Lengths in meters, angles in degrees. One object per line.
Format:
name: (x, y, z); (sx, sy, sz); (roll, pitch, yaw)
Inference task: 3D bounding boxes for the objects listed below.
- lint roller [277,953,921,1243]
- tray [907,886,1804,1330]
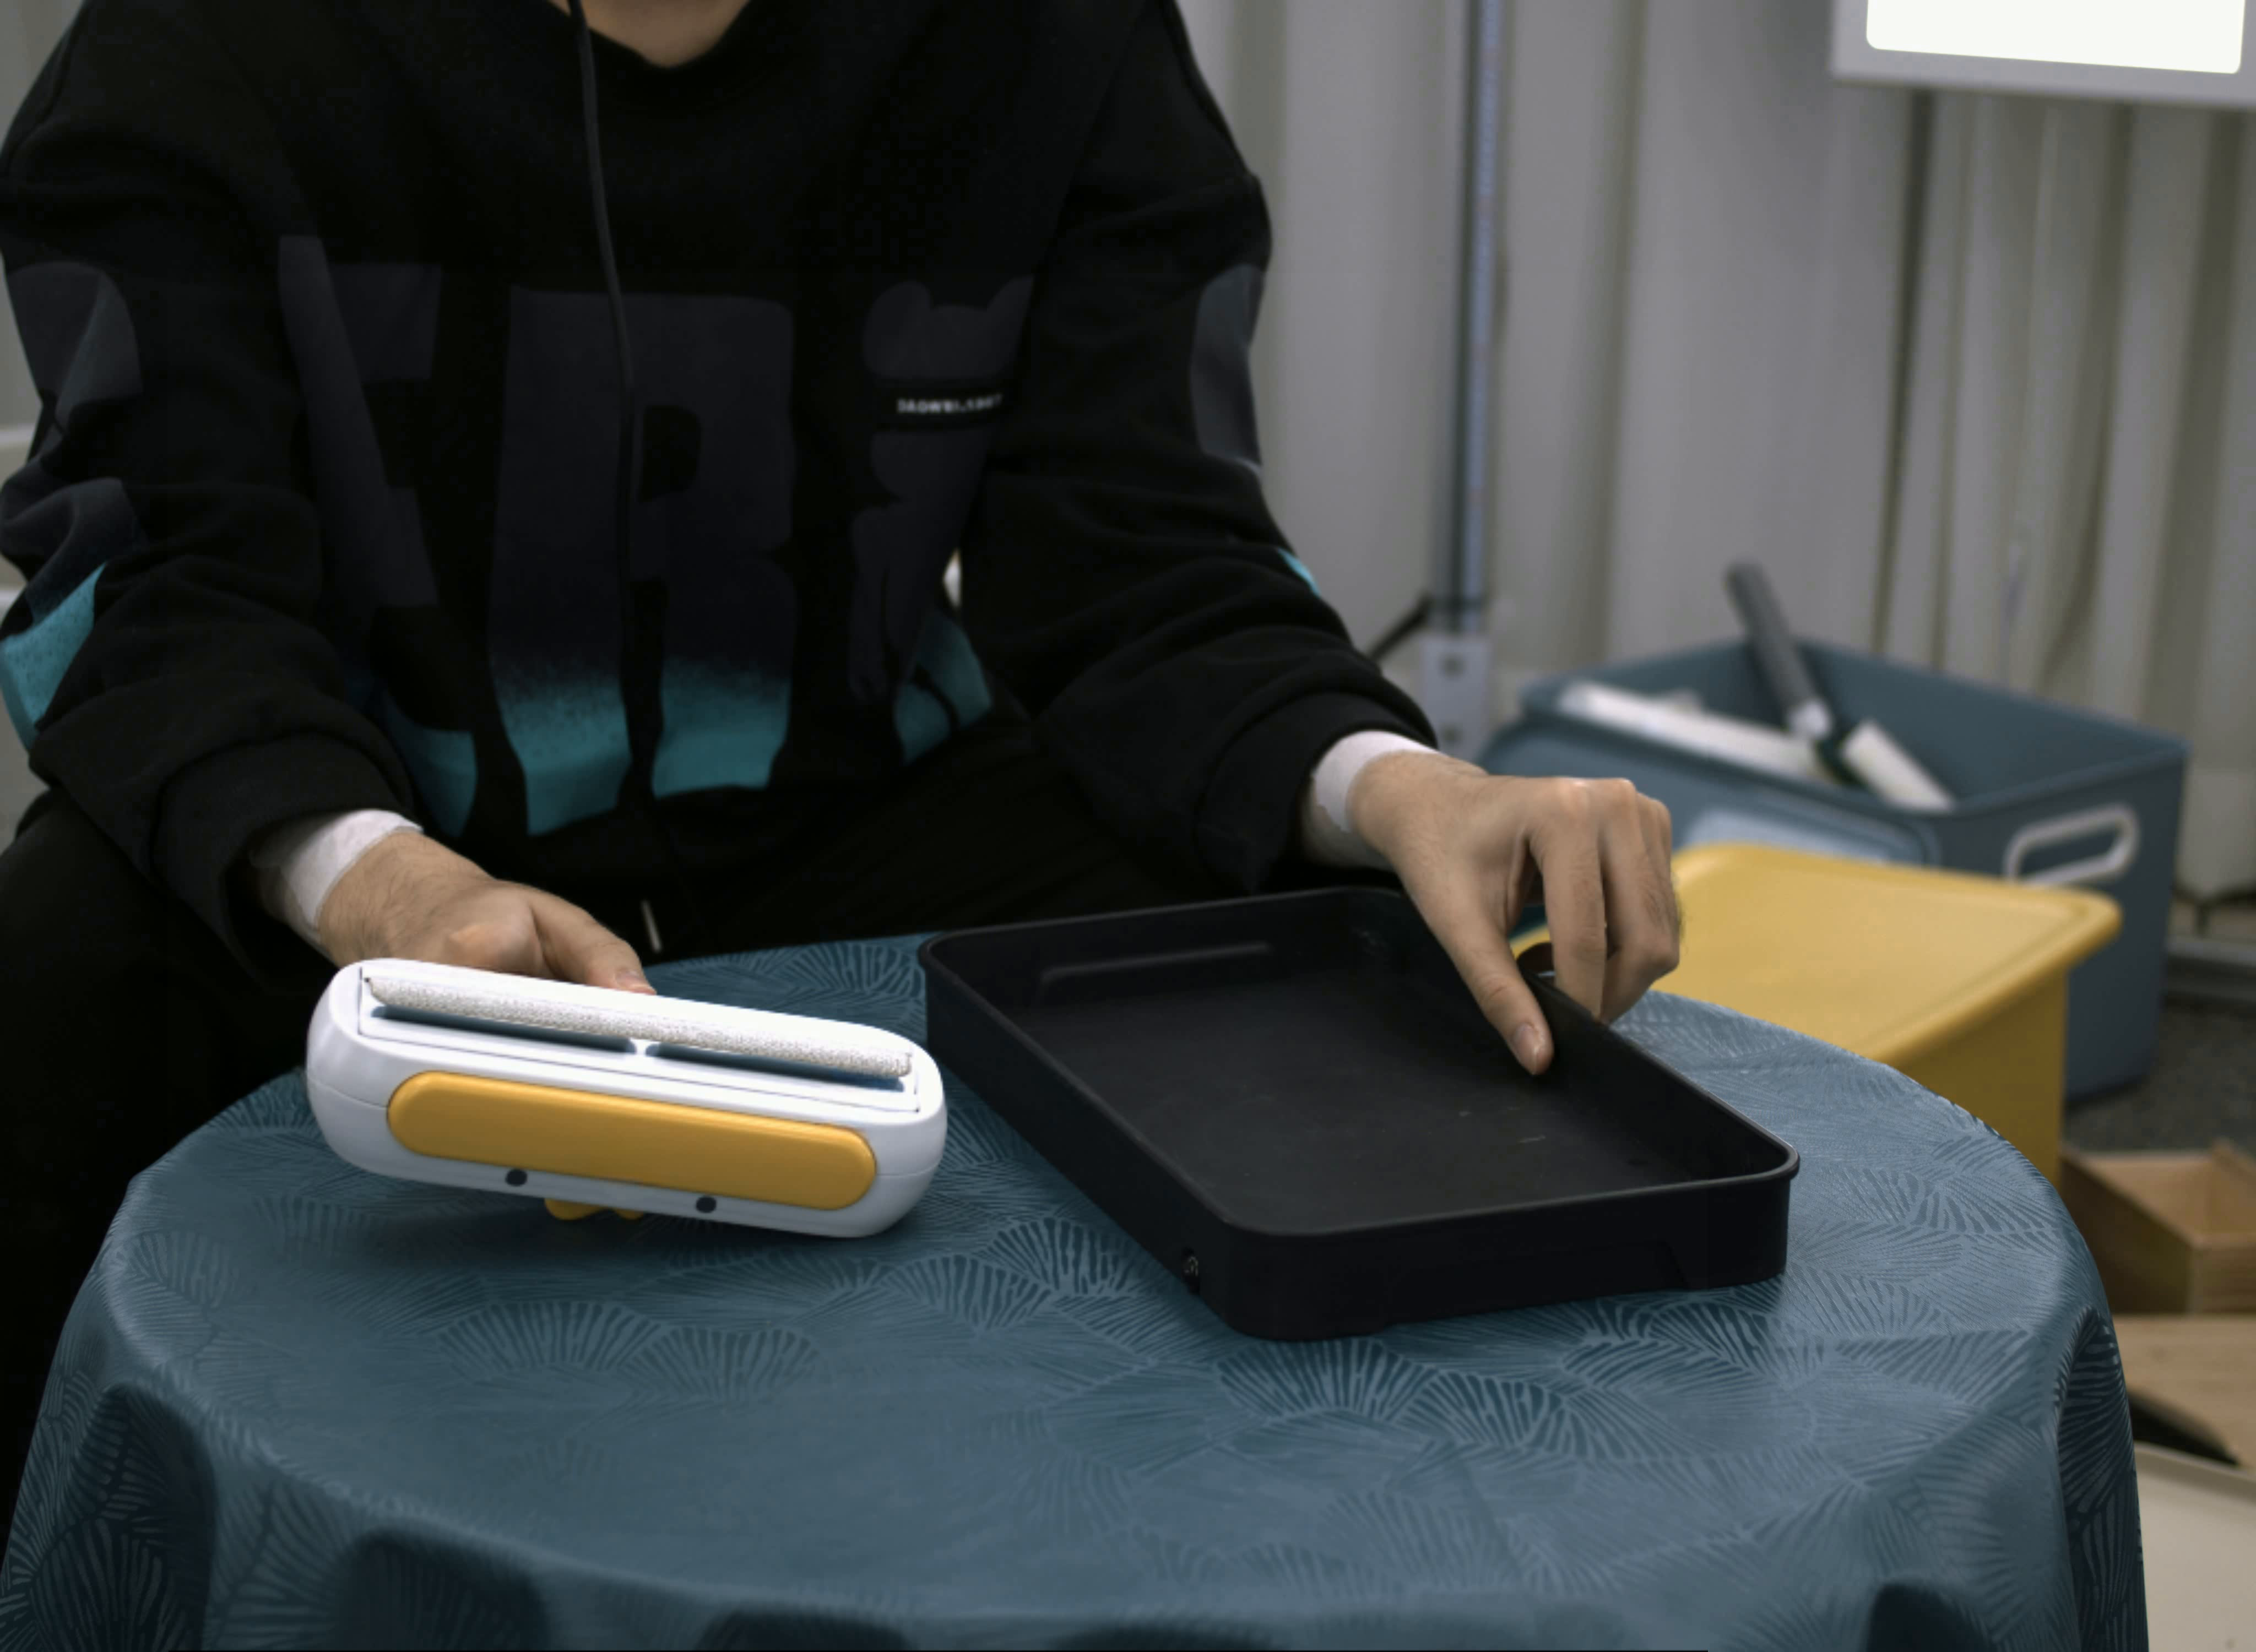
lint roller: (-0.163, 0.069, 1.628); (0.193, 0.075, 0.191); (6, 18, -7)
tray: (0.063, 0.083, 1.660); (0.185, 0.037, 0.314); (-6, 17, -22)
